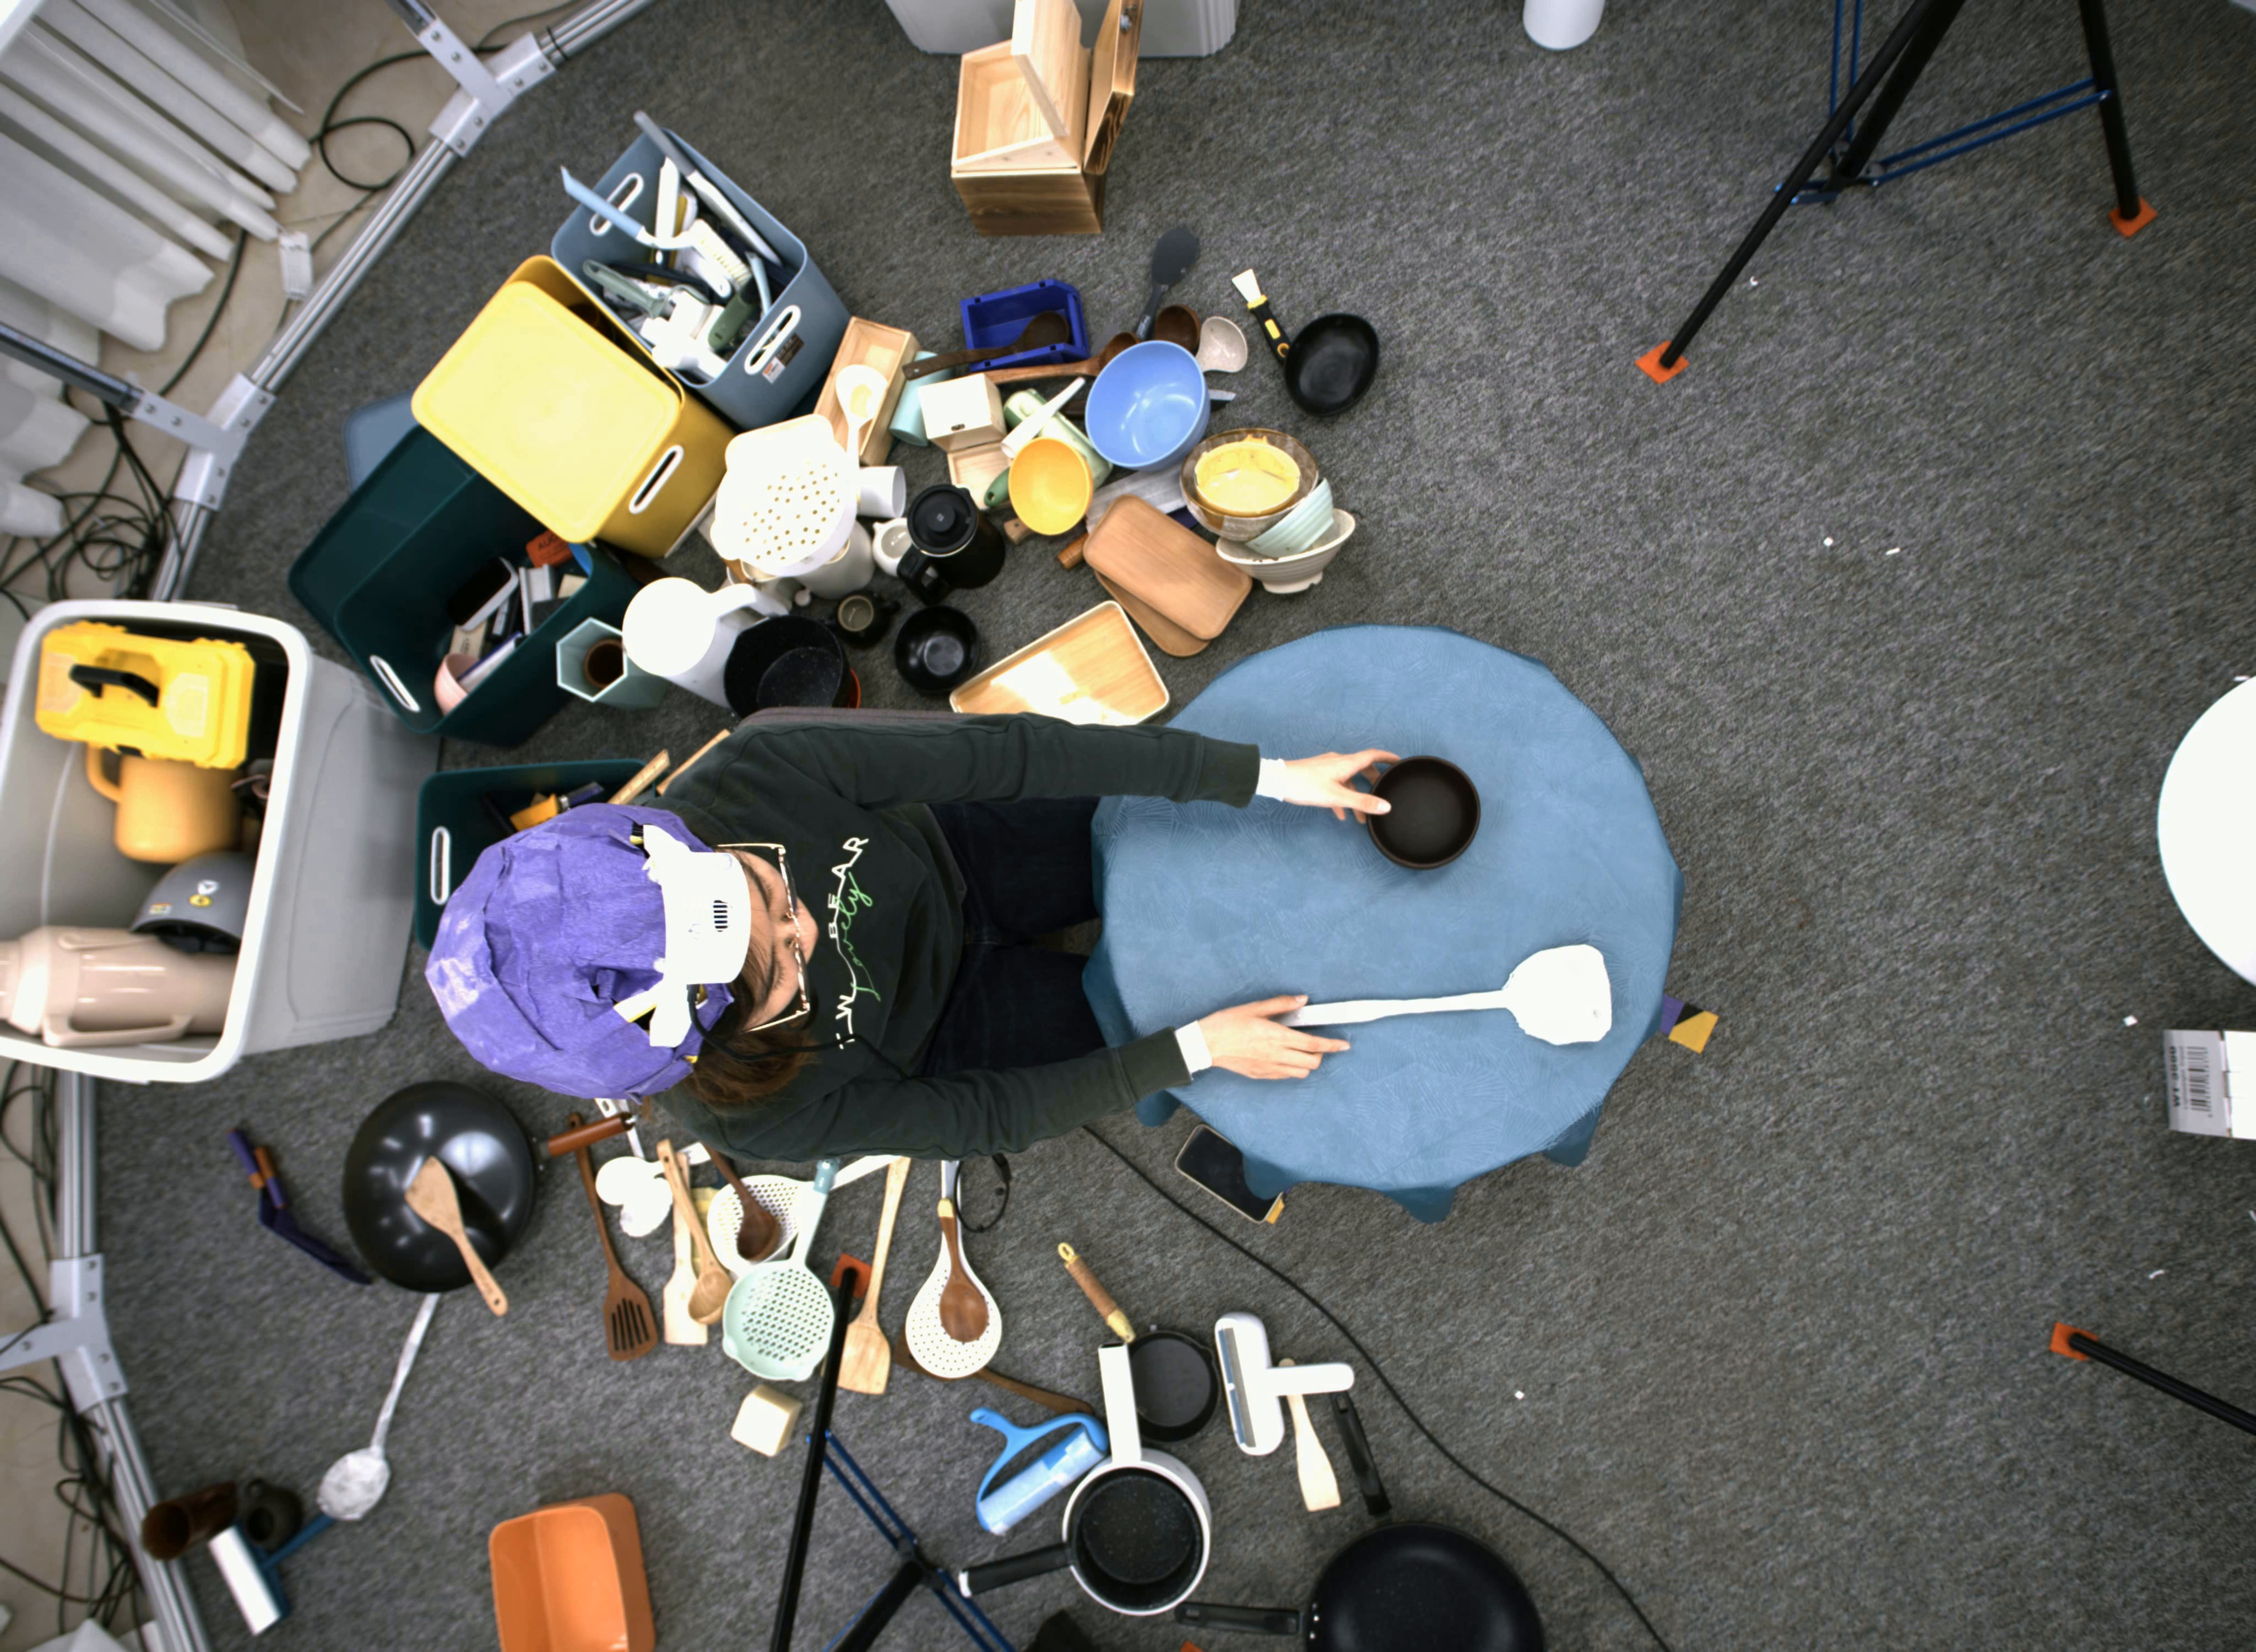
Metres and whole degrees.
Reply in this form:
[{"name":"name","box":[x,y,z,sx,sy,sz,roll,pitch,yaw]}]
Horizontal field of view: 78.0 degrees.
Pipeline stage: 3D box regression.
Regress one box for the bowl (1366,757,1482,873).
[{"name":"bowl","box":[0.306,-0.010,1.427,0.118,0.070,0.117,-1,83,11]}]

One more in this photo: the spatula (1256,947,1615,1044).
[{"name":"spatula","box":[0.313,0.182,1.430,0.366,0.045,0.098,-5,87,10]}]
